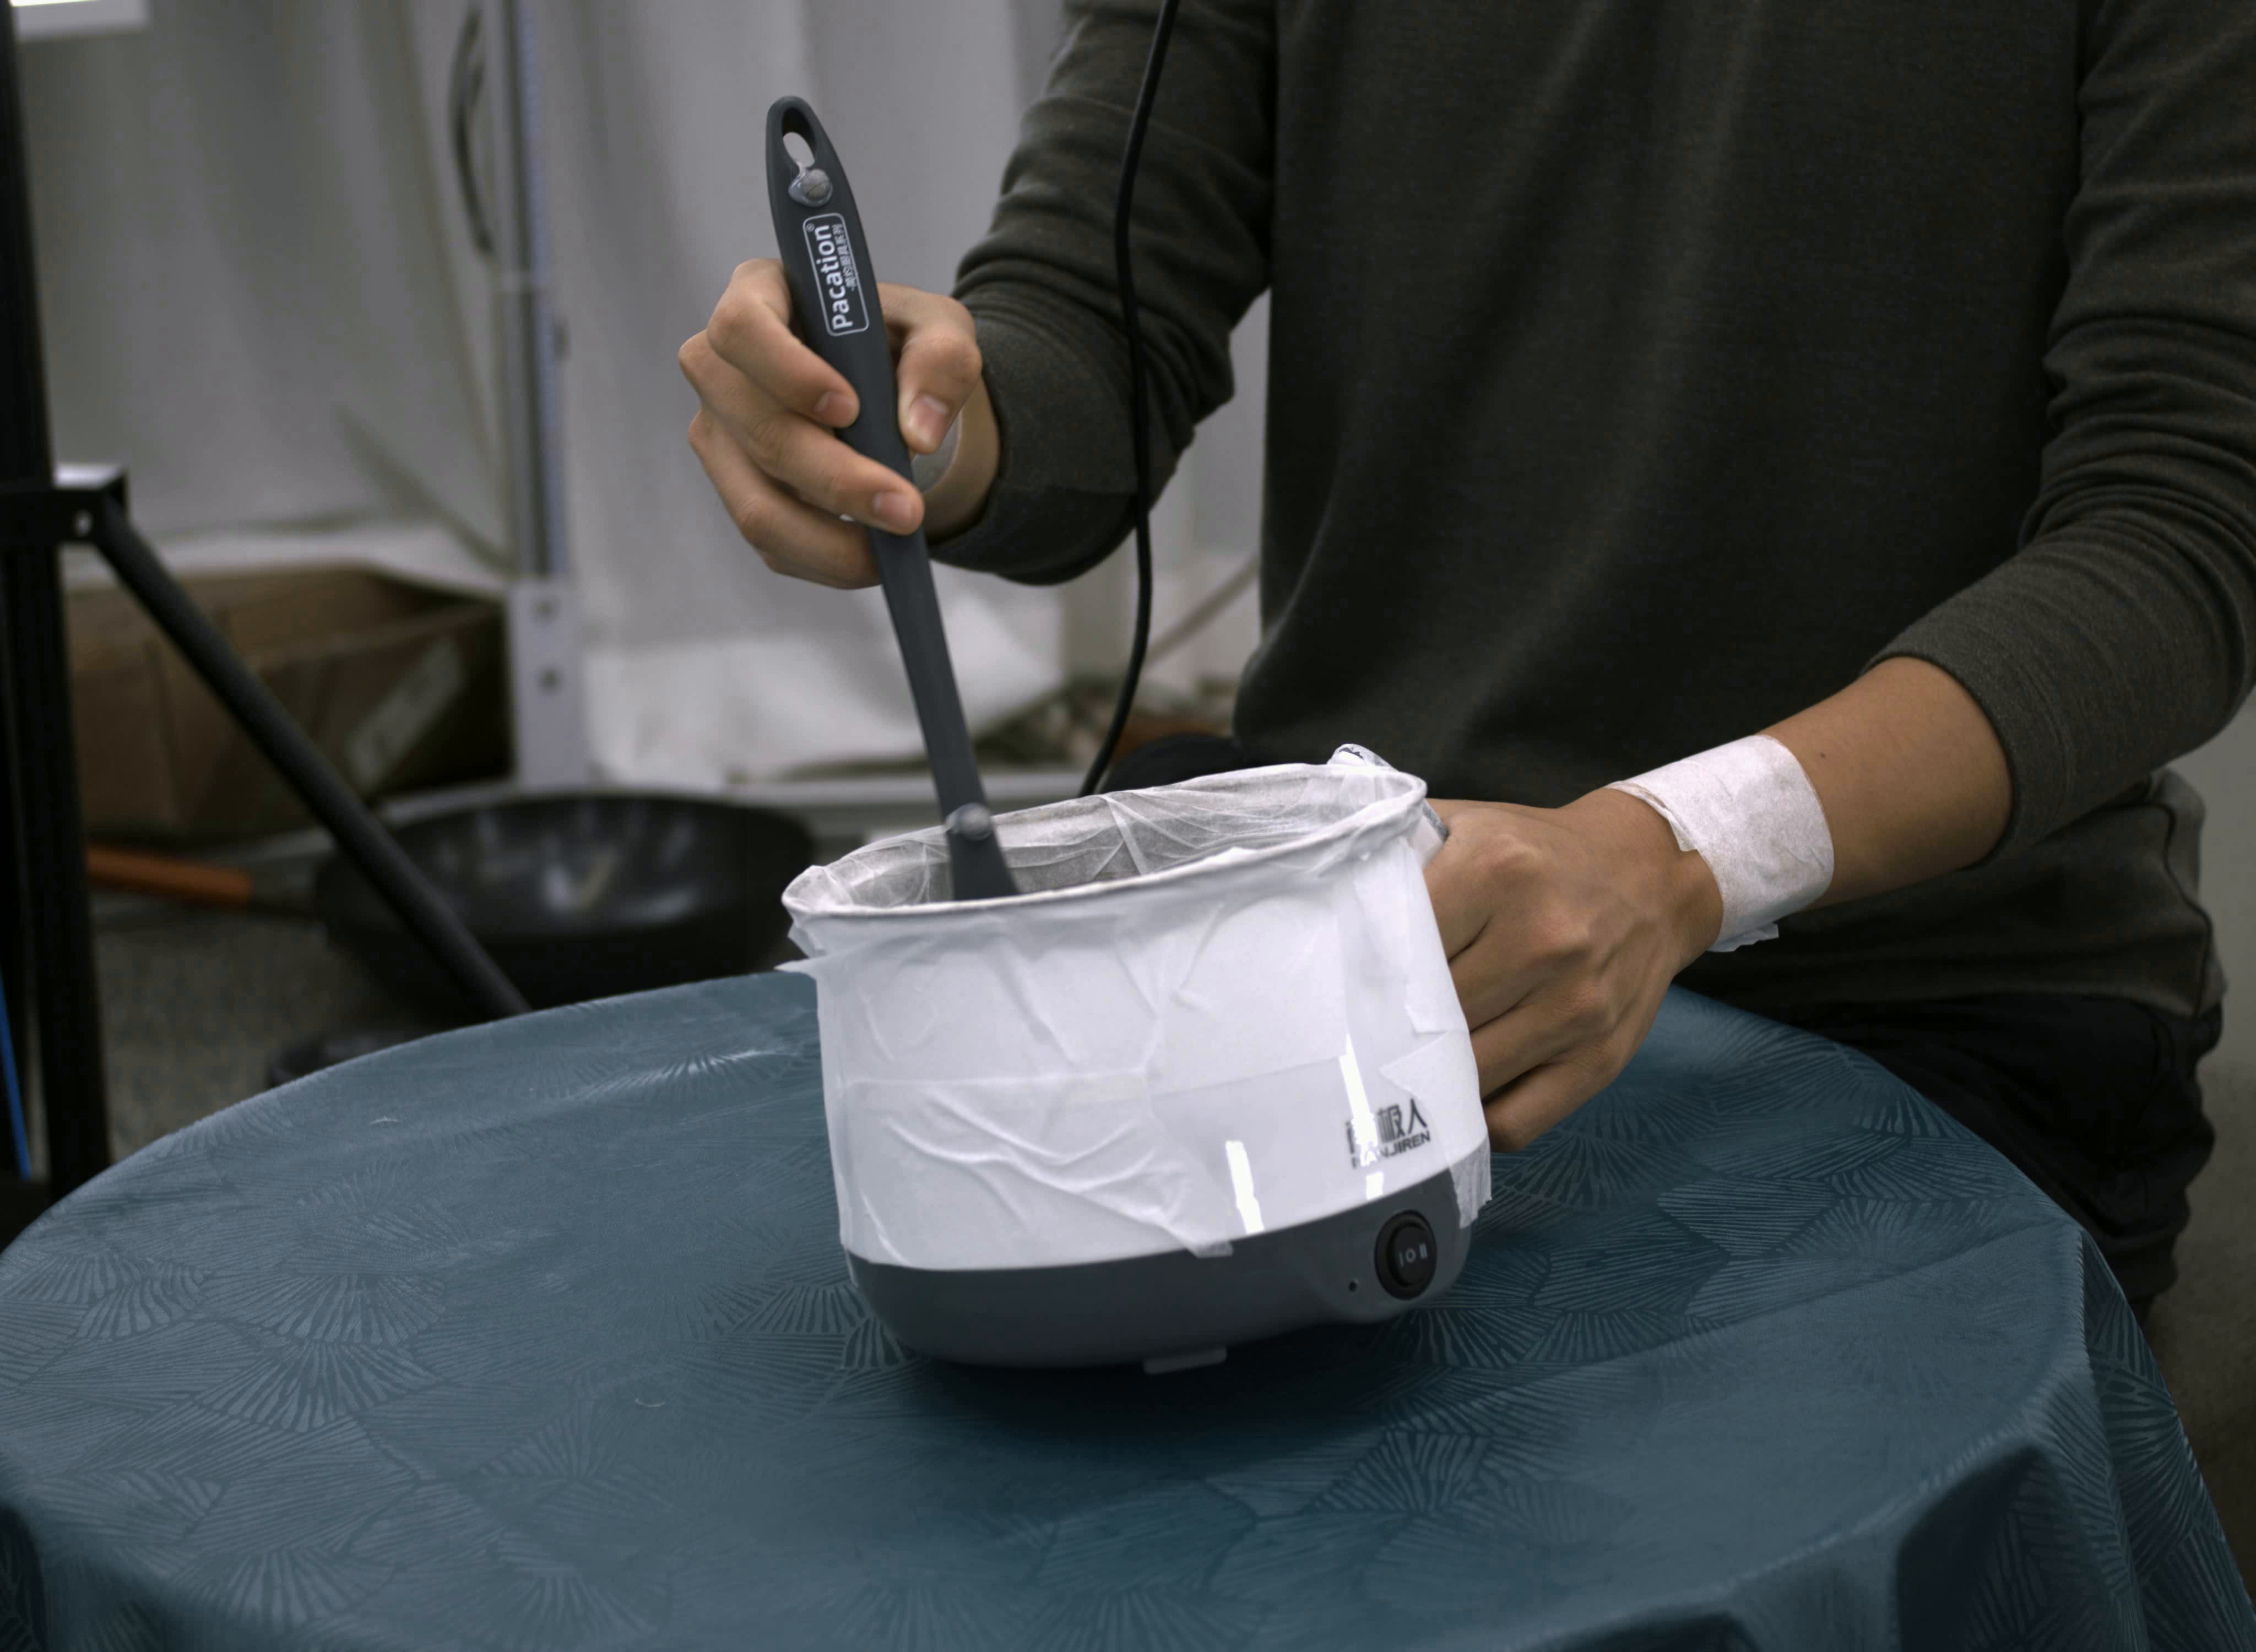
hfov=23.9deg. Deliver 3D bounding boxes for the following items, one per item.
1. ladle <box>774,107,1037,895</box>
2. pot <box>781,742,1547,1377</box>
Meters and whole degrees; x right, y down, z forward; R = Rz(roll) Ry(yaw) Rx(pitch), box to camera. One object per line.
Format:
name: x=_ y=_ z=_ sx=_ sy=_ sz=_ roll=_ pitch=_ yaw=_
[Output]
ladle: x=-0.049 y=-0.064 z=1.472 sx=0.085 sy=0.317 sz=0.064 roll=-11 pitch=-15 yaw=-16
pot: x=0.024 y=0.059 z=1.449 sx=0.228 sy=0.137 sz=0.182 roll=-17 pitch=10 yaw=-43
